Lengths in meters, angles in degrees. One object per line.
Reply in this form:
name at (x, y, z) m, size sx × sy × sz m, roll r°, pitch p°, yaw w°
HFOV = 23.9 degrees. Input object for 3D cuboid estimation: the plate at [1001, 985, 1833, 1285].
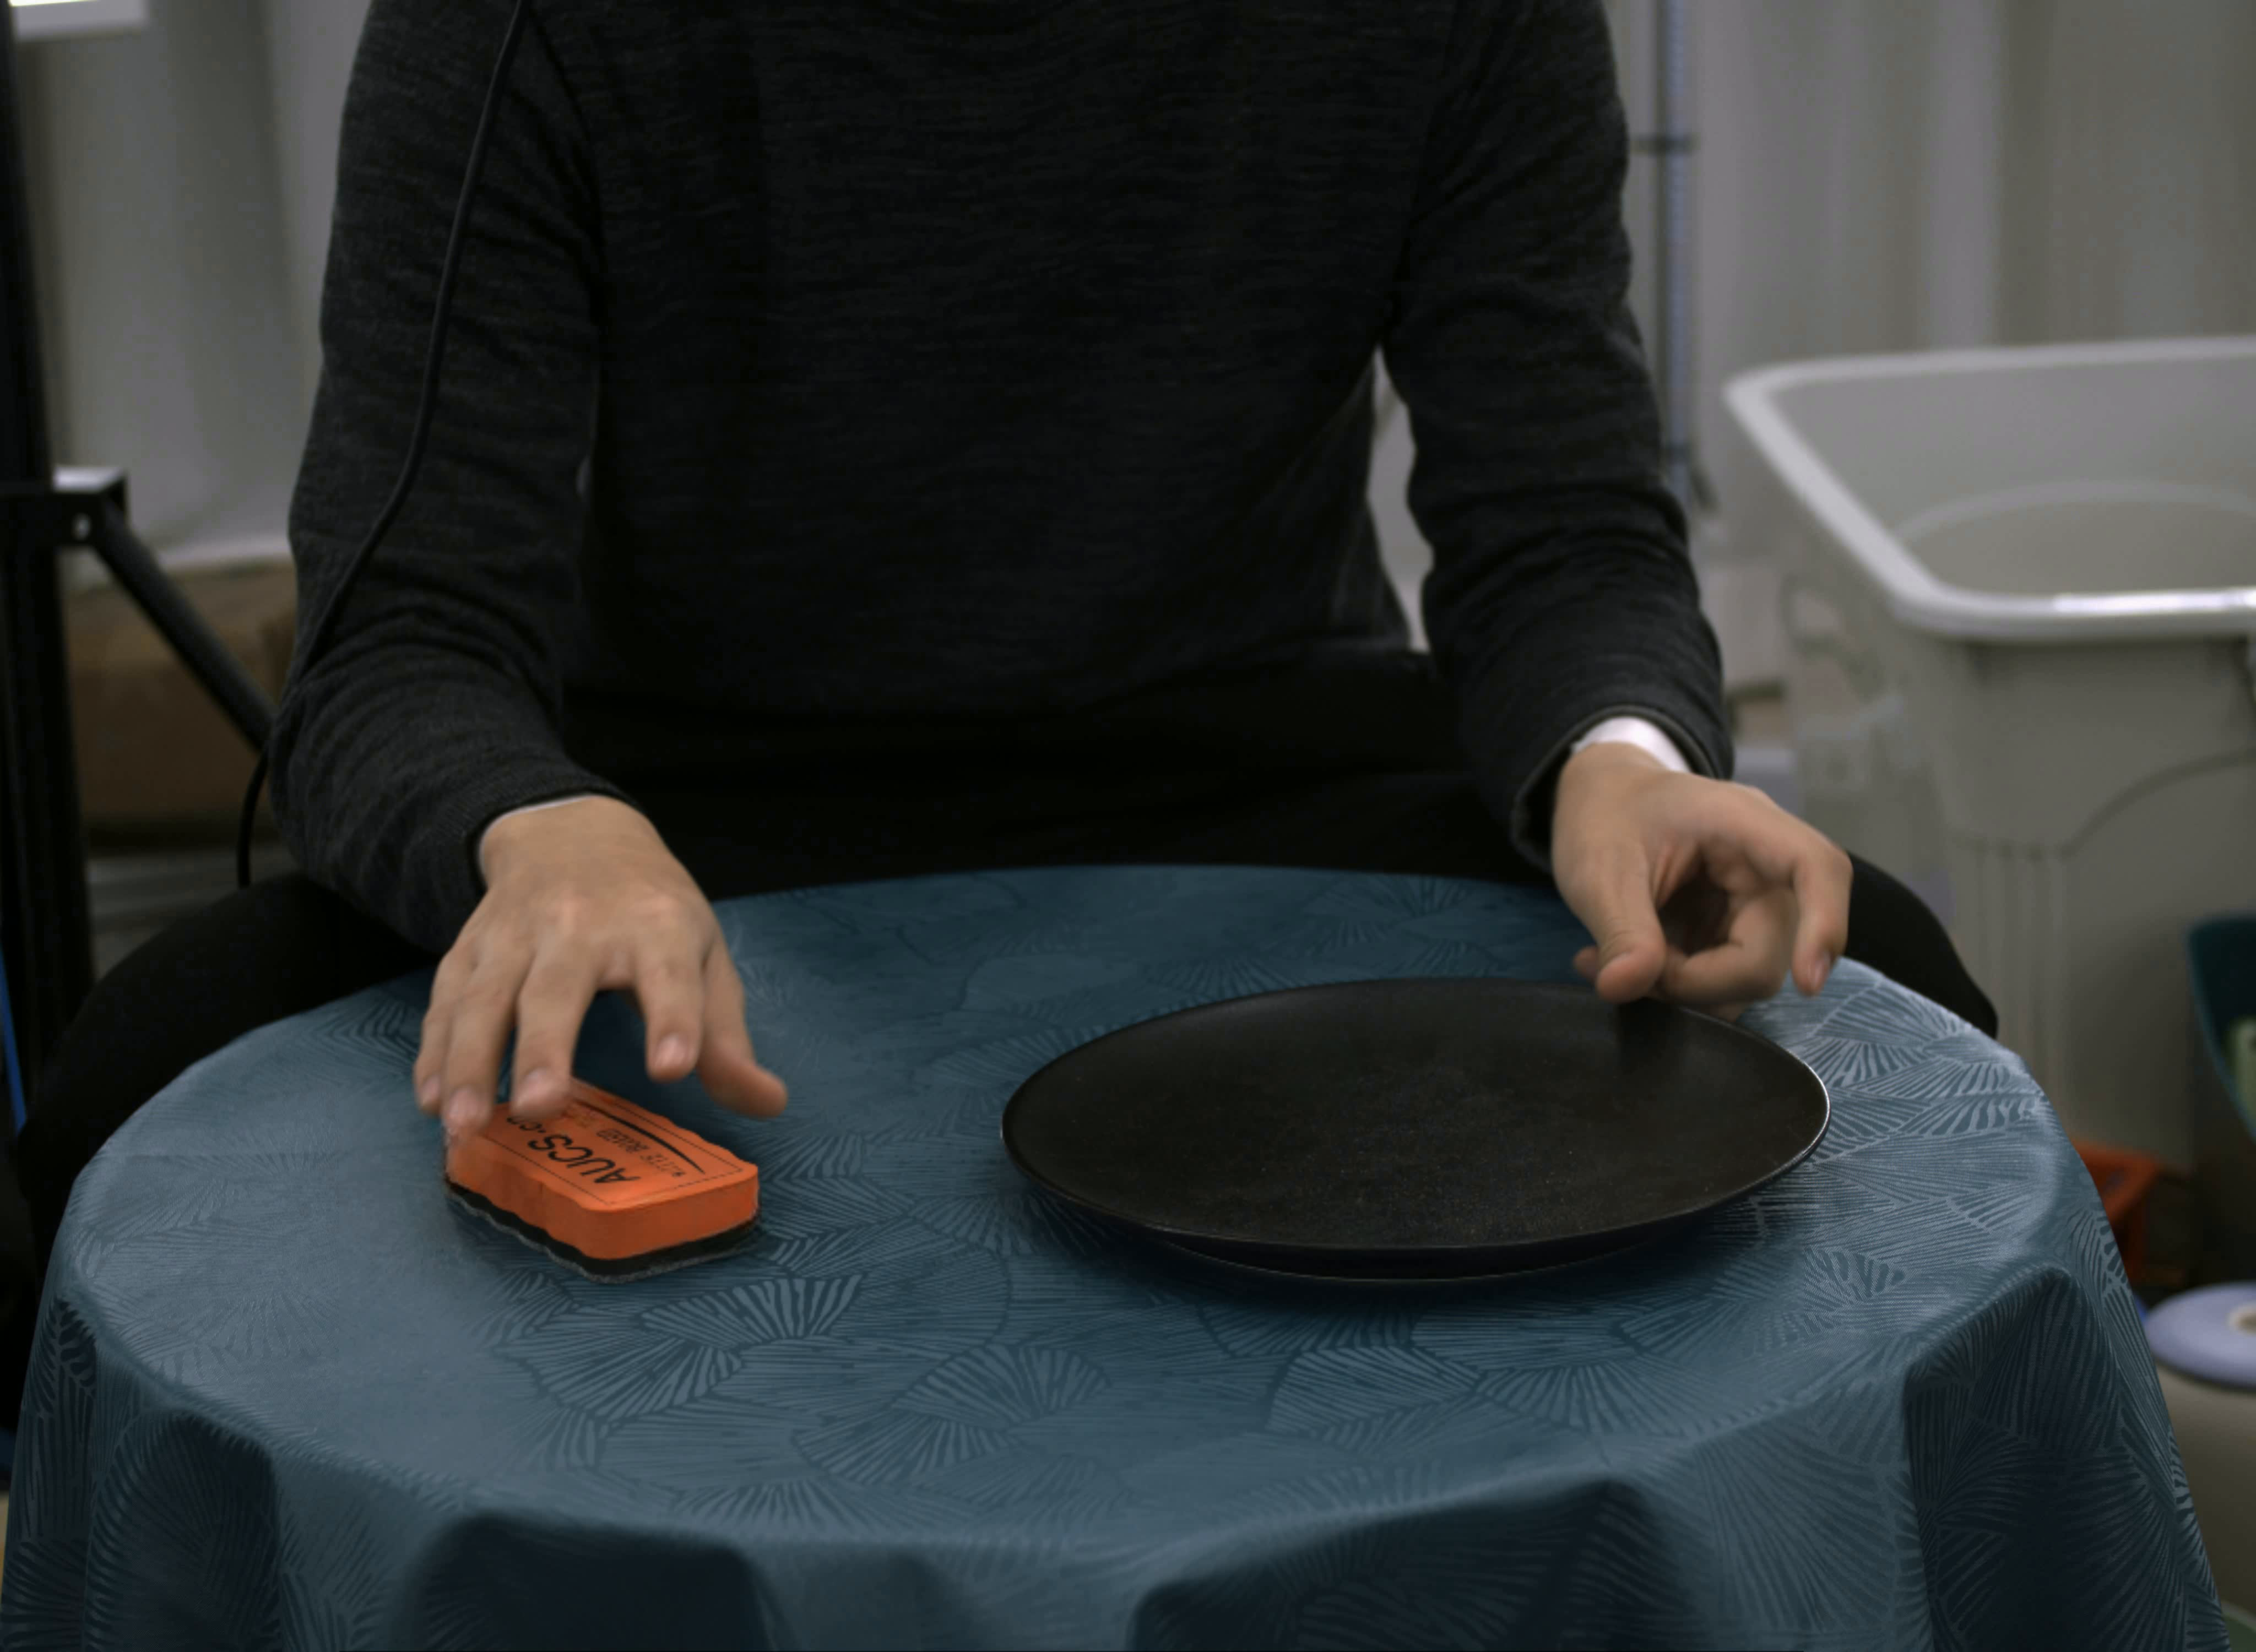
plate at (0.085, 0.093, 1.555) m, size 0.243 × 0.023 × 0.245 m, roll -3°, pitch 16°, yaw -1°

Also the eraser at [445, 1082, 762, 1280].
eraser at (-0.154, 0.103, 1.556) m, size 0.057 × 0.023 × 0.110 m, roll -11°, pitch 18°, yaw -30°
